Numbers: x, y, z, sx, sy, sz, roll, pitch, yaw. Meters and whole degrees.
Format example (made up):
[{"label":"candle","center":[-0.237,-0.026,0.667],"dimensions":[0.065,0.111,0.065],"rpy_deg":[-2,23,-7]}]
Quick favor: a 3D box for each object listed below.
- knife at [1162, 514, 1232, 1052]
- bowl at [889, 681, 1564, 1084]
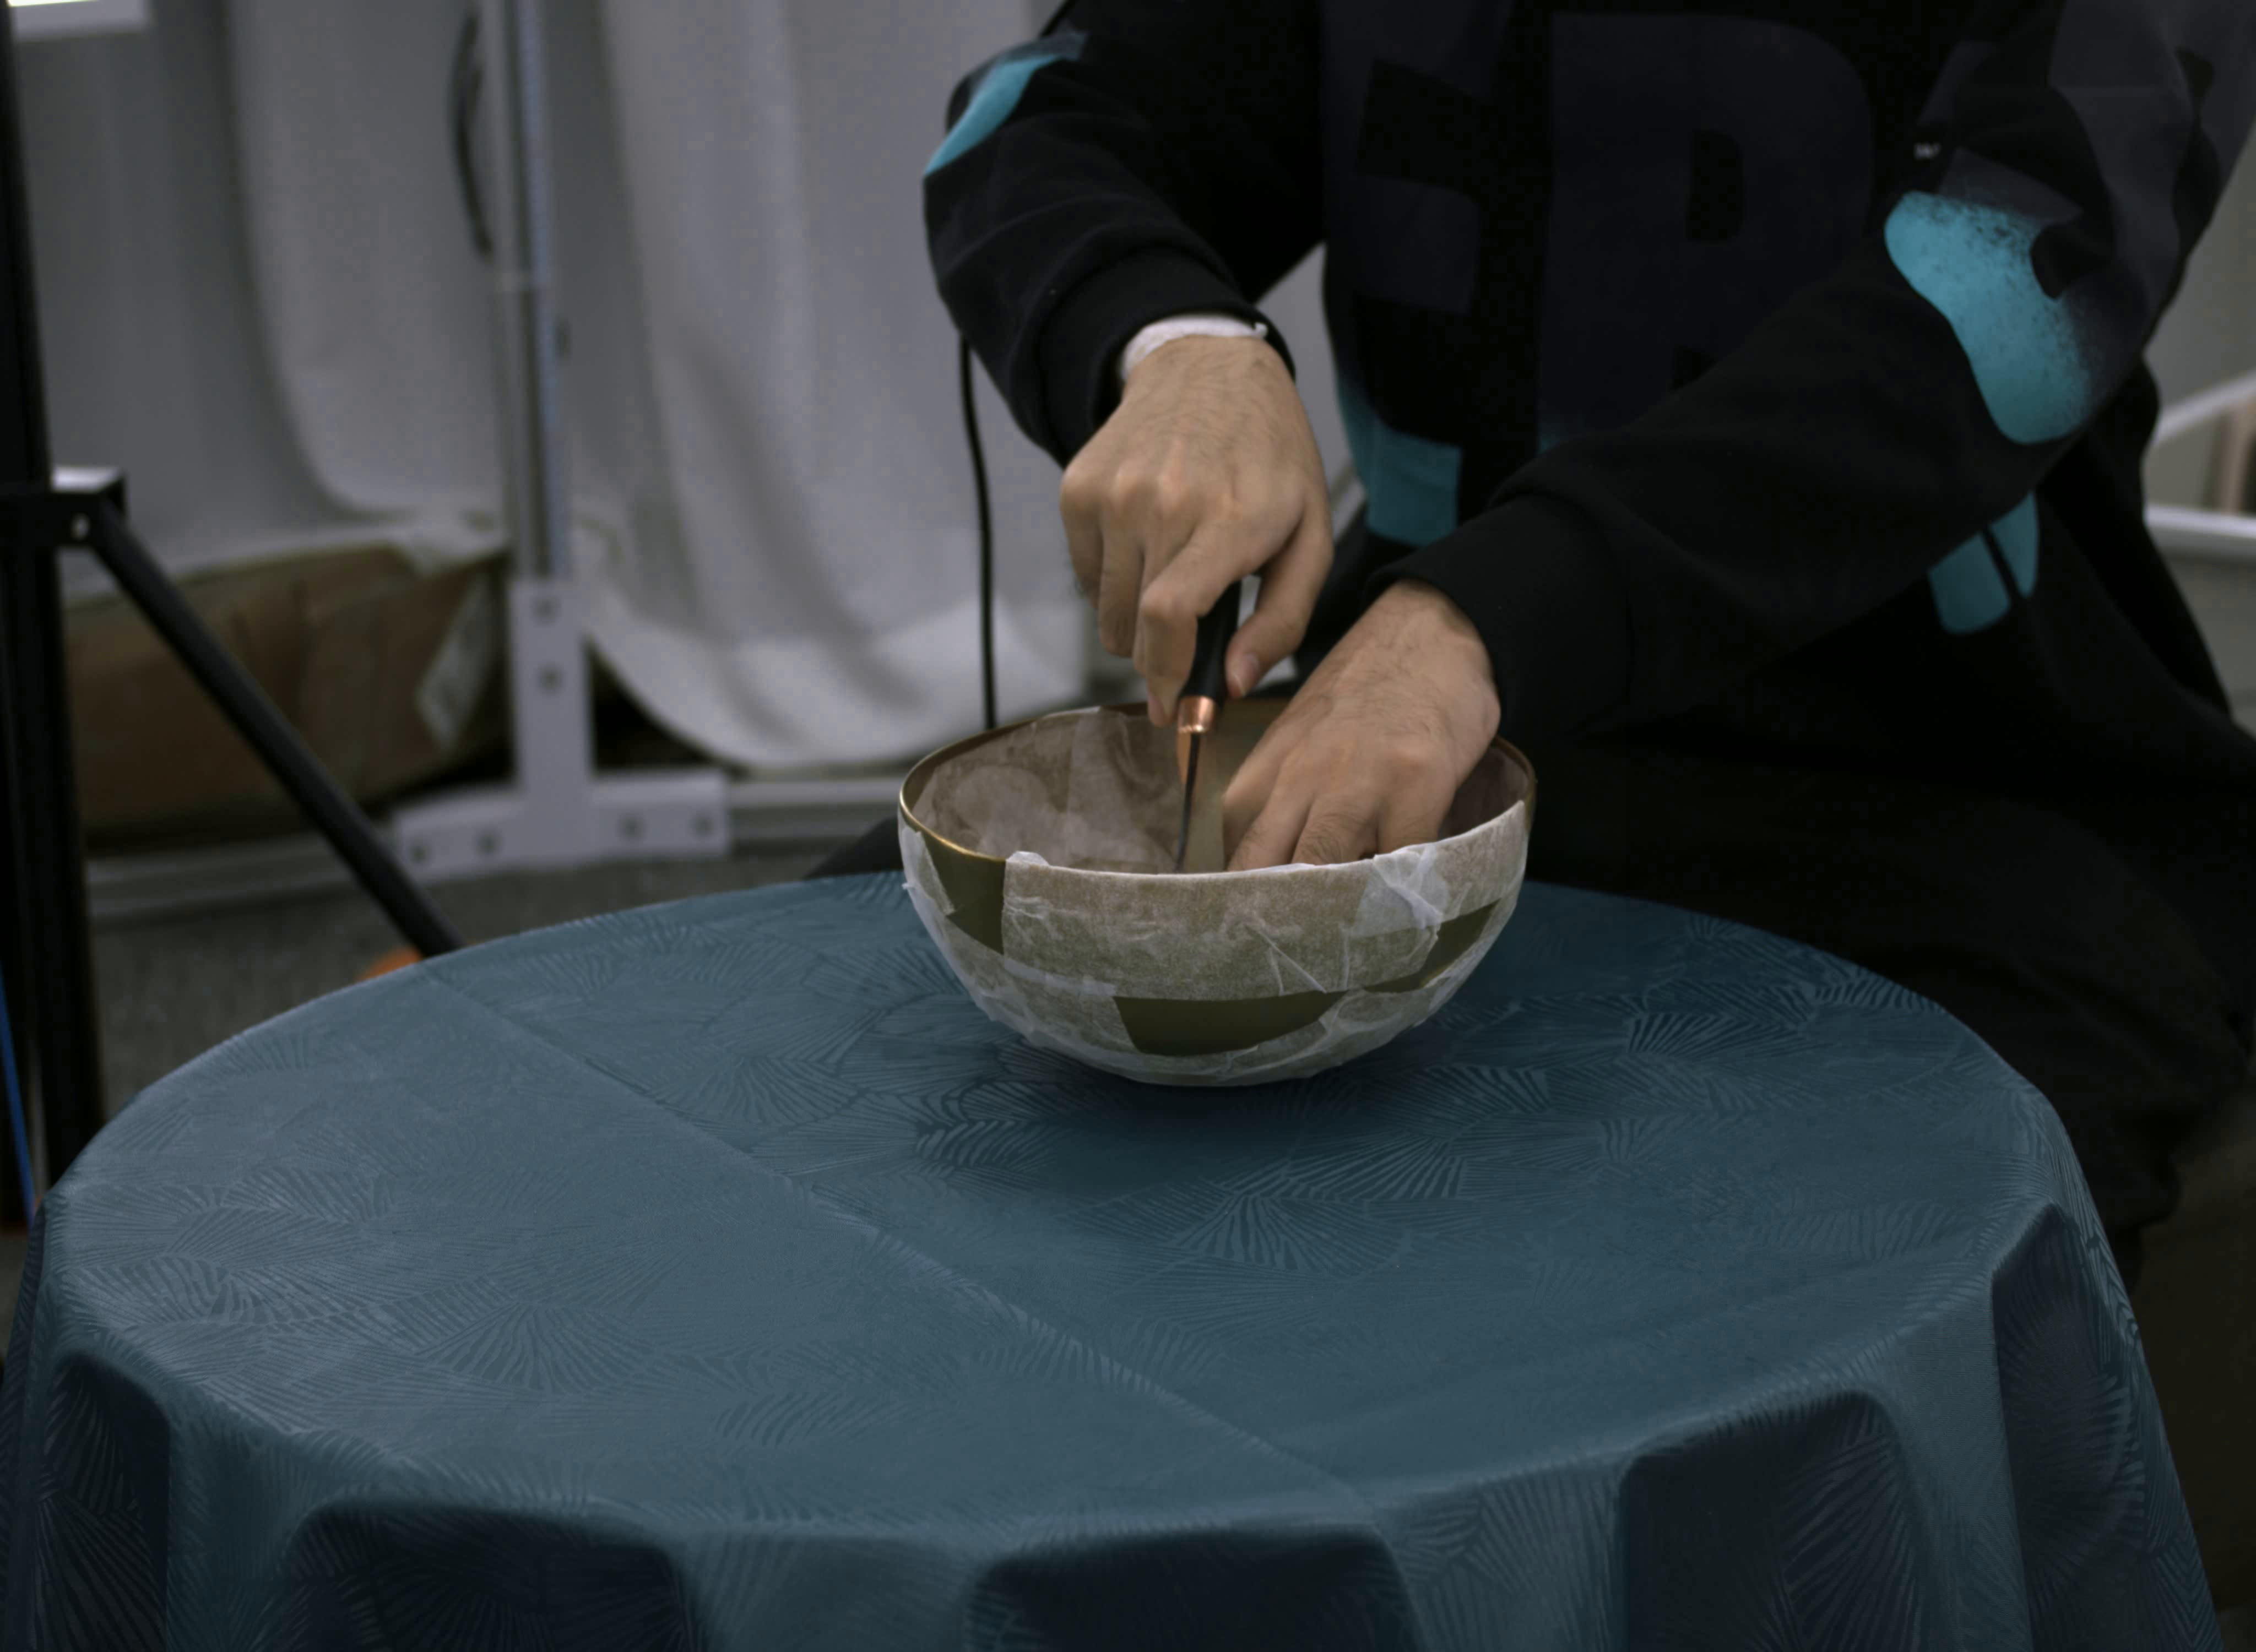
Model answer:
[{"label":"knife","center":[0.020,-0.017,1.678],"dimensions":[0.017,0.026,0.227],"rpy_deg":[7,45,-1]},{"label":"bowl","center":[0.031,0.026,1.666],"dimensions":[0.214,0.094,0.216],"rpy_deg":[-4,17,0]}]
